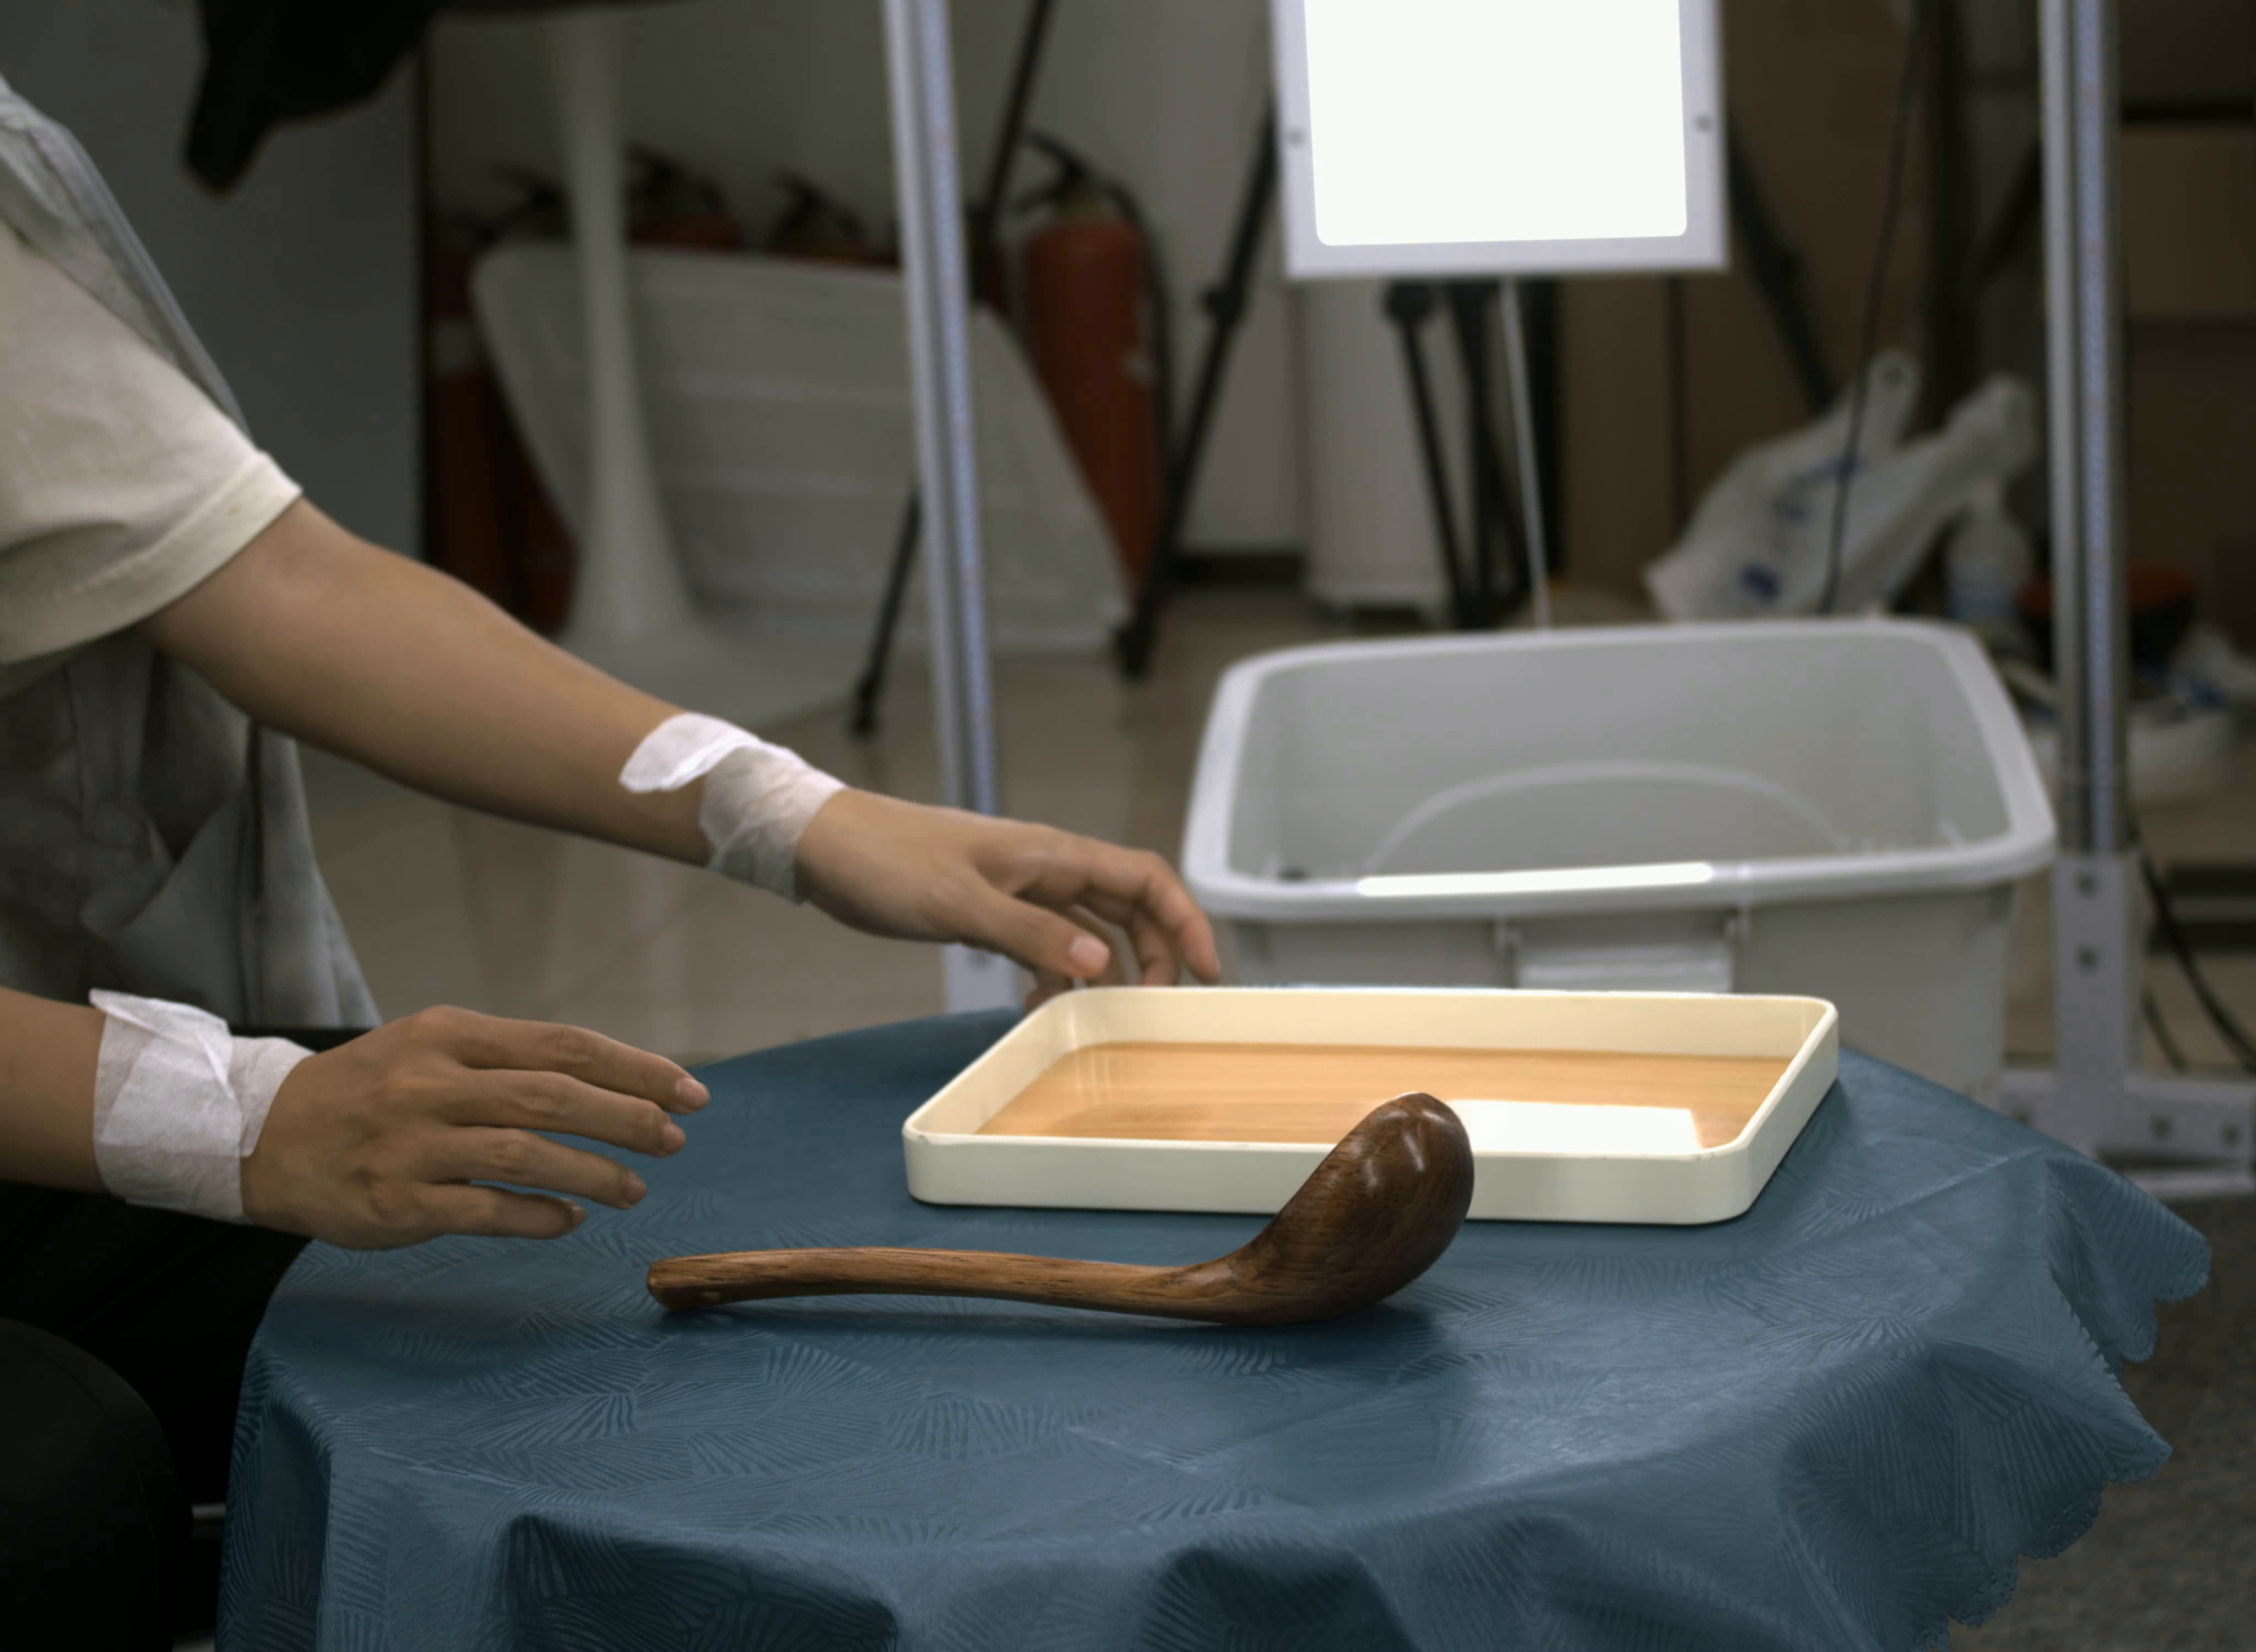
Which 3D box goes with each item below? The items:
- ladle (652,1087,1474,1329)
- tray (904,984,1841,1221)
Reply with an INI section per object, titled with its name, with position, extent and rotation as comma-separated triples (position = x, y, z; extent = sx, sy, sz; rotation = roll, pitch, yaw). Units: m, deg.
[ladle]
position = -0.023, 0.122, 1.776
extent = 0.278, 0.076, 0.081
rotation = -1, -25, 21
[tray]
position = 0.089, 0.095, 1.933
extent = 0.304, 0.027, 0.188
rotation = 0, 15, 21
